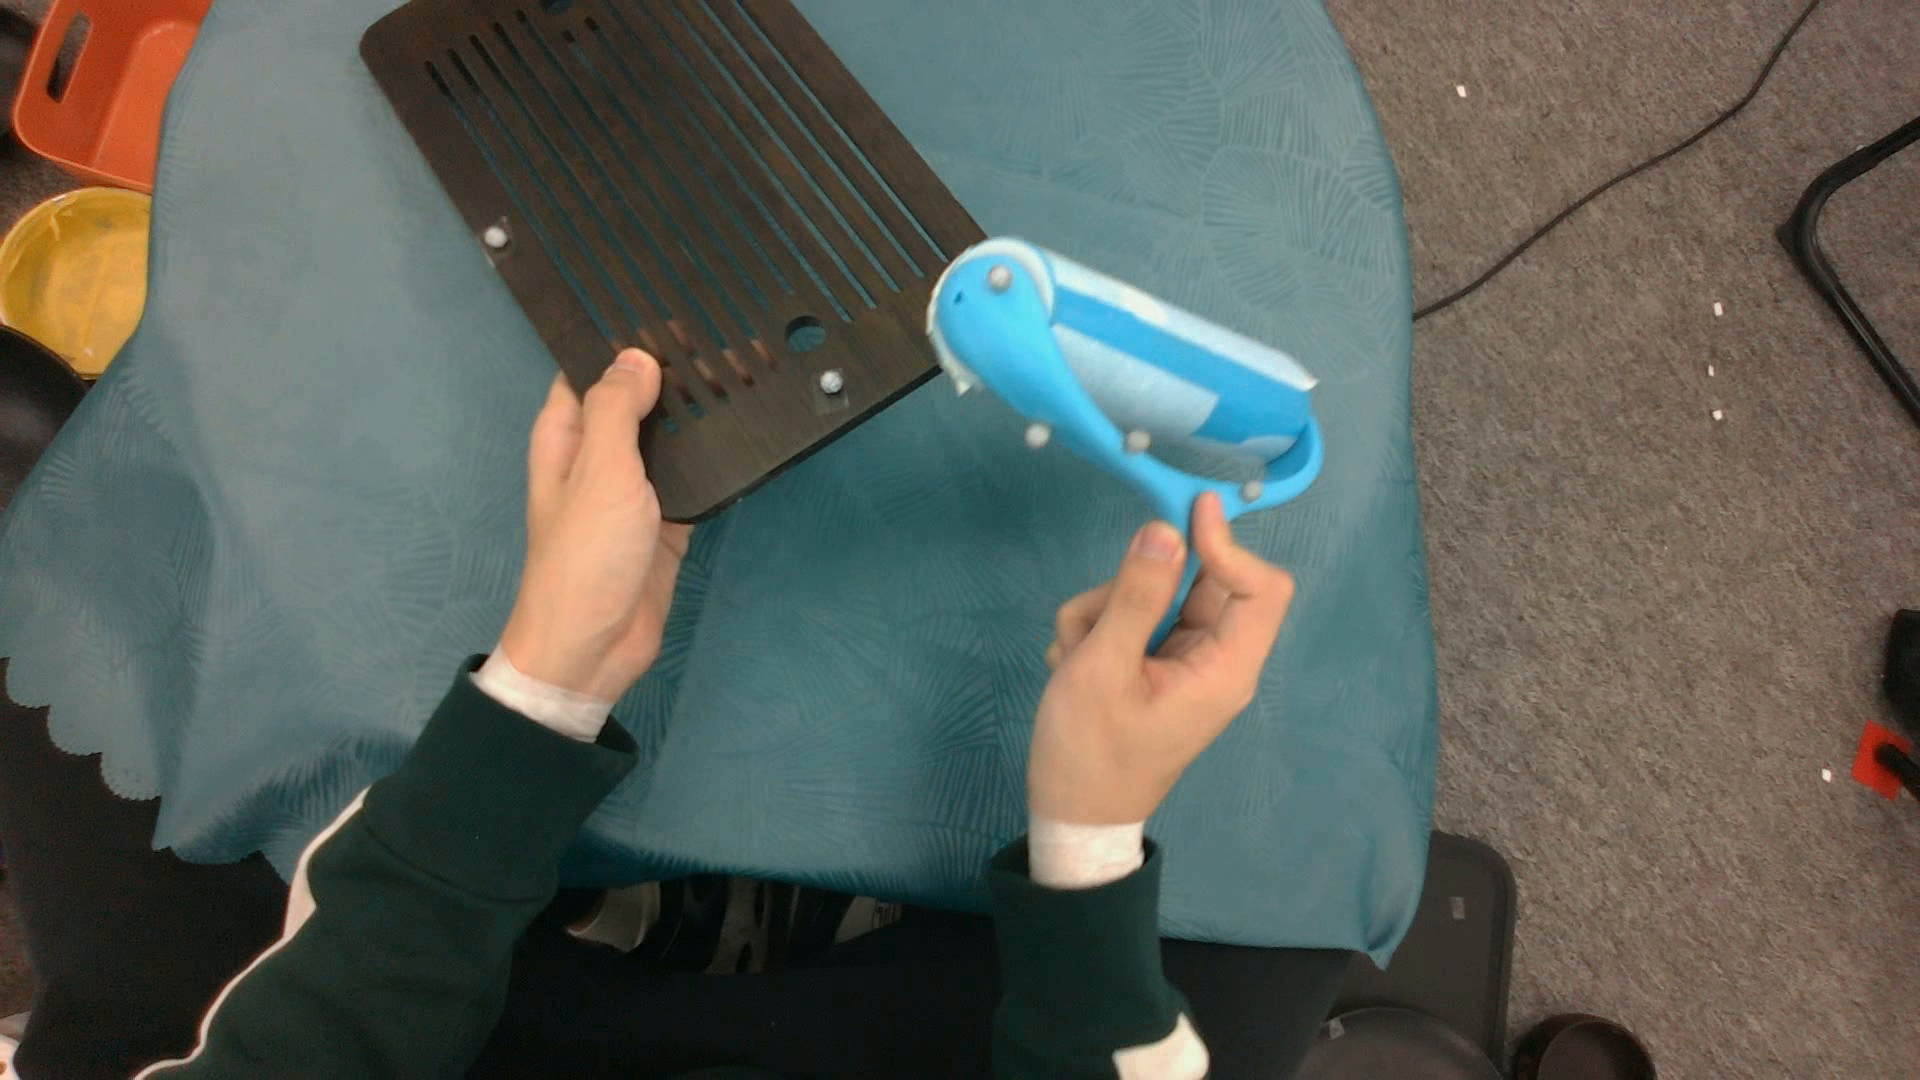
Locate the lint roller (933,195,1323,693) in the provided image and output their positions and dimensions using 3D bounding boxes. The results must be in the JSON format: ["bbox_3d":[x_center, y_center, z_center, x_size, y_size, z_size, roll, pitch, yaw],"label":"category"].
[{"bbox_3d":[0.071,-0.027,0.545,0.229,0.068,0.180,3,90,-50],"label":"lint roller"}]

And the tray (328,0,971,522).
[{"bbox_3d":[-0.133,-0.157,0.589,0.170,0.018,0.306,-35,68,-10],"label":"tray"}]
